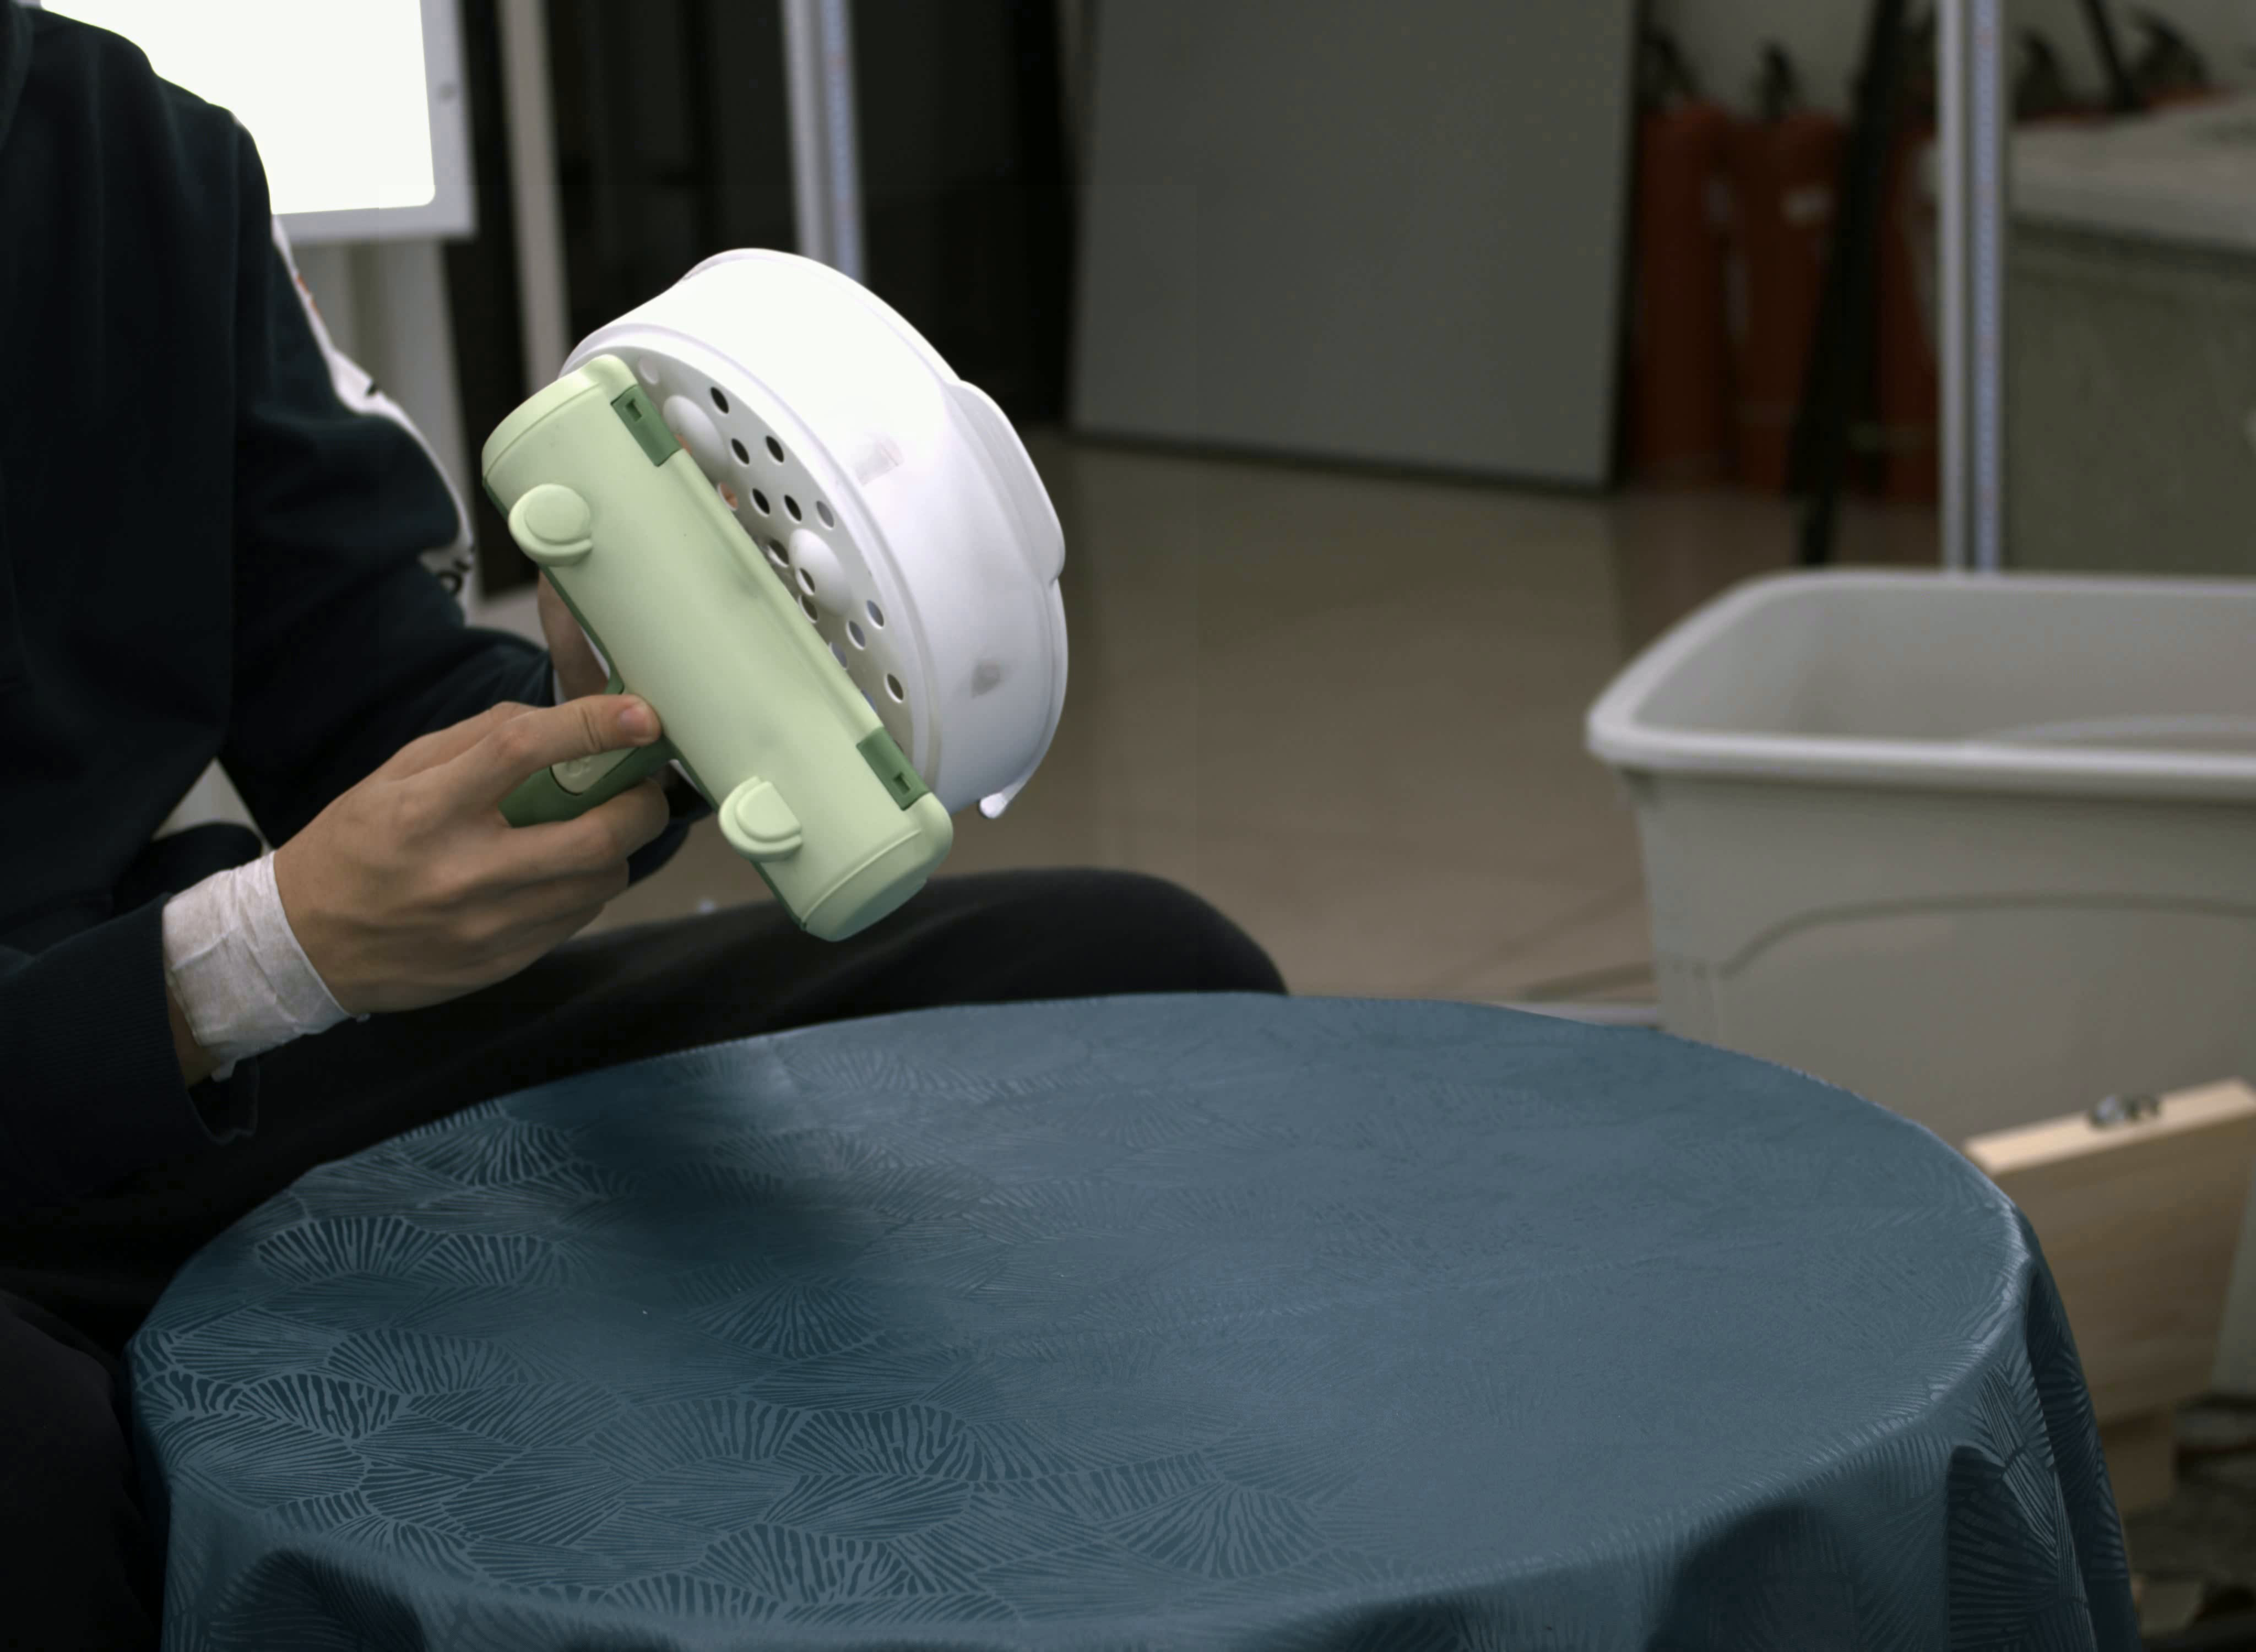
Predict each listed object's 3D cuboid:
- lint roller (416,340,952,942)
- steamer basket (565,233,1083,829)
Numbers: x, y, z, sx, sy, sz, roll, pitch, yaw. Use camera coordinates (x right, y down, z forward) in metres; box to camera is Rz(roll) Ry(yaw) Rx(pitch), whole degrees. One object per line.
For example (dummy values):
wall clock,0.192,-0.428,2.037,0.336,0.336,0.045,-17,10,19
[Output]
lint roller,-0.173,-0.022,1.711,0.184,0.200,0.081,-39,-9,20
steamer basket,-0.103,-0.088,1.752,0.068,0.202,0.233,-34,11,-25
